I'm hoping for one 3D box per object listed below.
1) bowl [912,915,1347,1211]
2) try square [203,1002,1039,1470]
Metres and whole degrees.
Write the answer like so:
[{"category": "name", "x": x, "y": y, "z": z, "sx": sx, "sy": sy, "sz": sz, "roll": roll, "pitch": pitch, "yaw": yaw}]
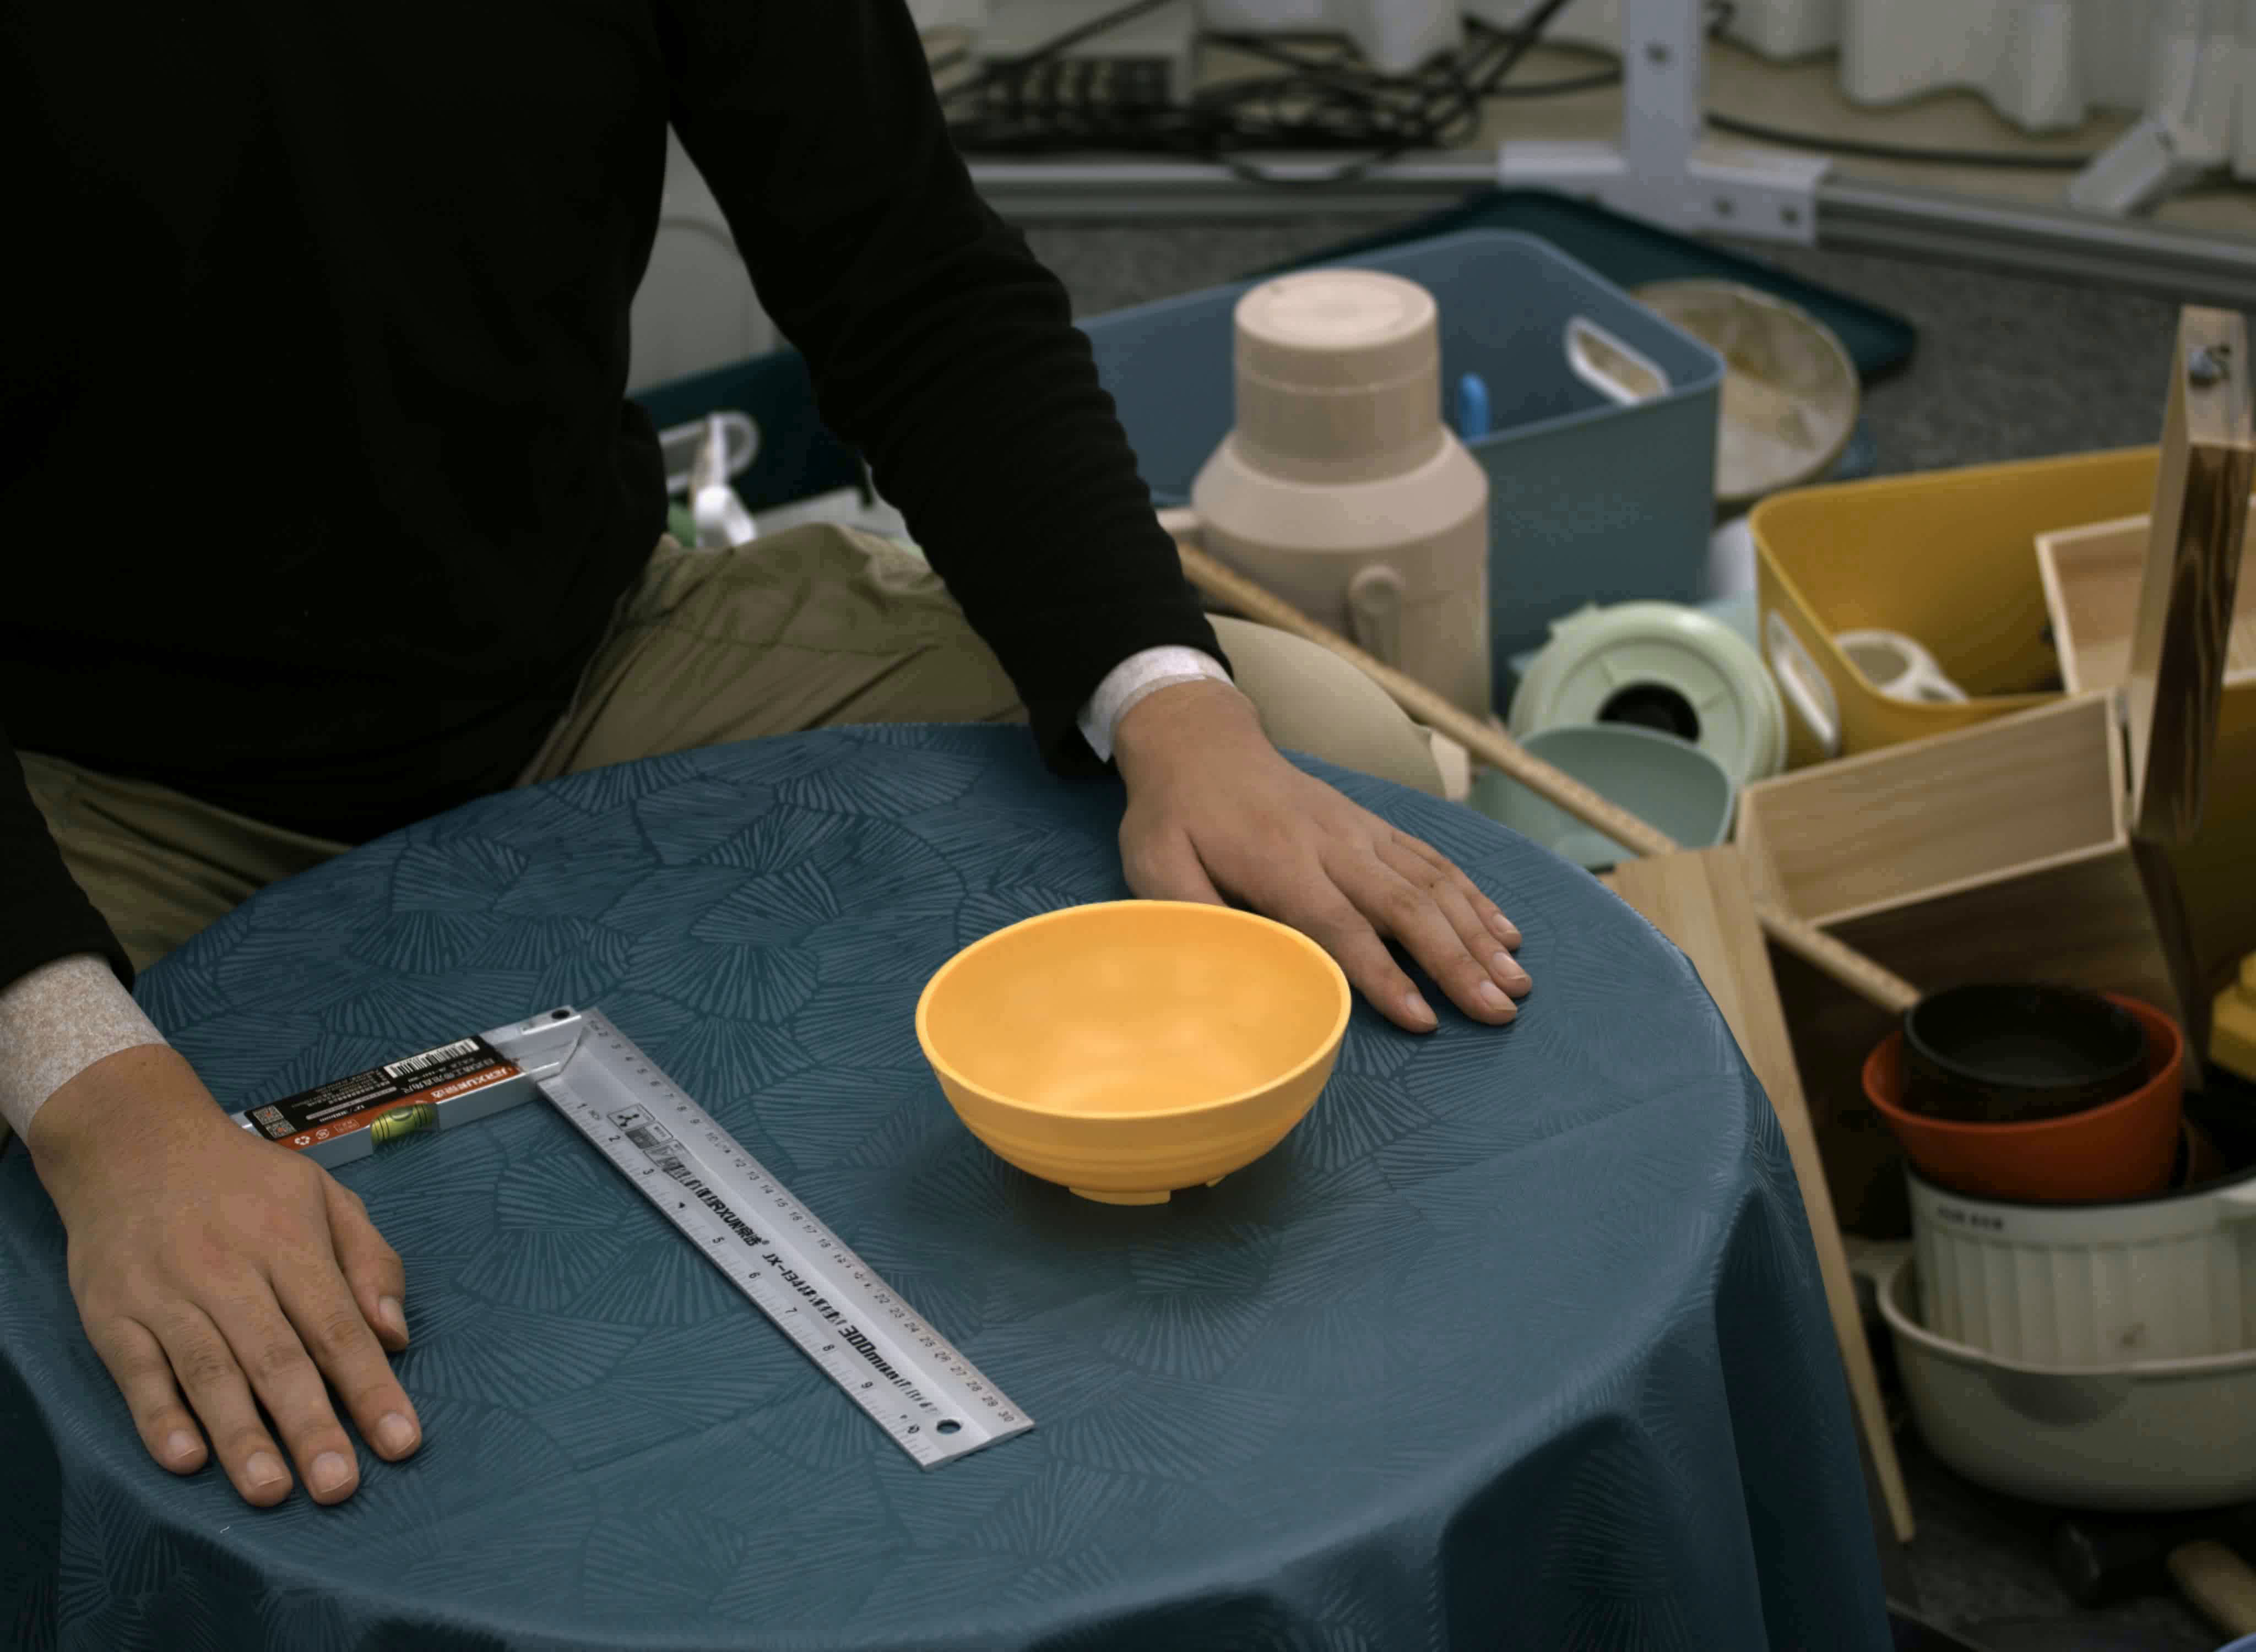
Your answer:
[{"category": "bowl", "x": 0.001, "y": 0.087, "z": 1.869, "sx": 0.144, "sy": 0.059, "sz": 0.147, "roll": -2, "pitch": 24, "yaw": 1}, {"category": "try square", "x": -0.171, "y": 0.148, "z": 1.825, "sx": 0.153, "sy": 0.016, "sz": 0.314, "roll": -21, "pitch": 33, "yaw": -24}]
